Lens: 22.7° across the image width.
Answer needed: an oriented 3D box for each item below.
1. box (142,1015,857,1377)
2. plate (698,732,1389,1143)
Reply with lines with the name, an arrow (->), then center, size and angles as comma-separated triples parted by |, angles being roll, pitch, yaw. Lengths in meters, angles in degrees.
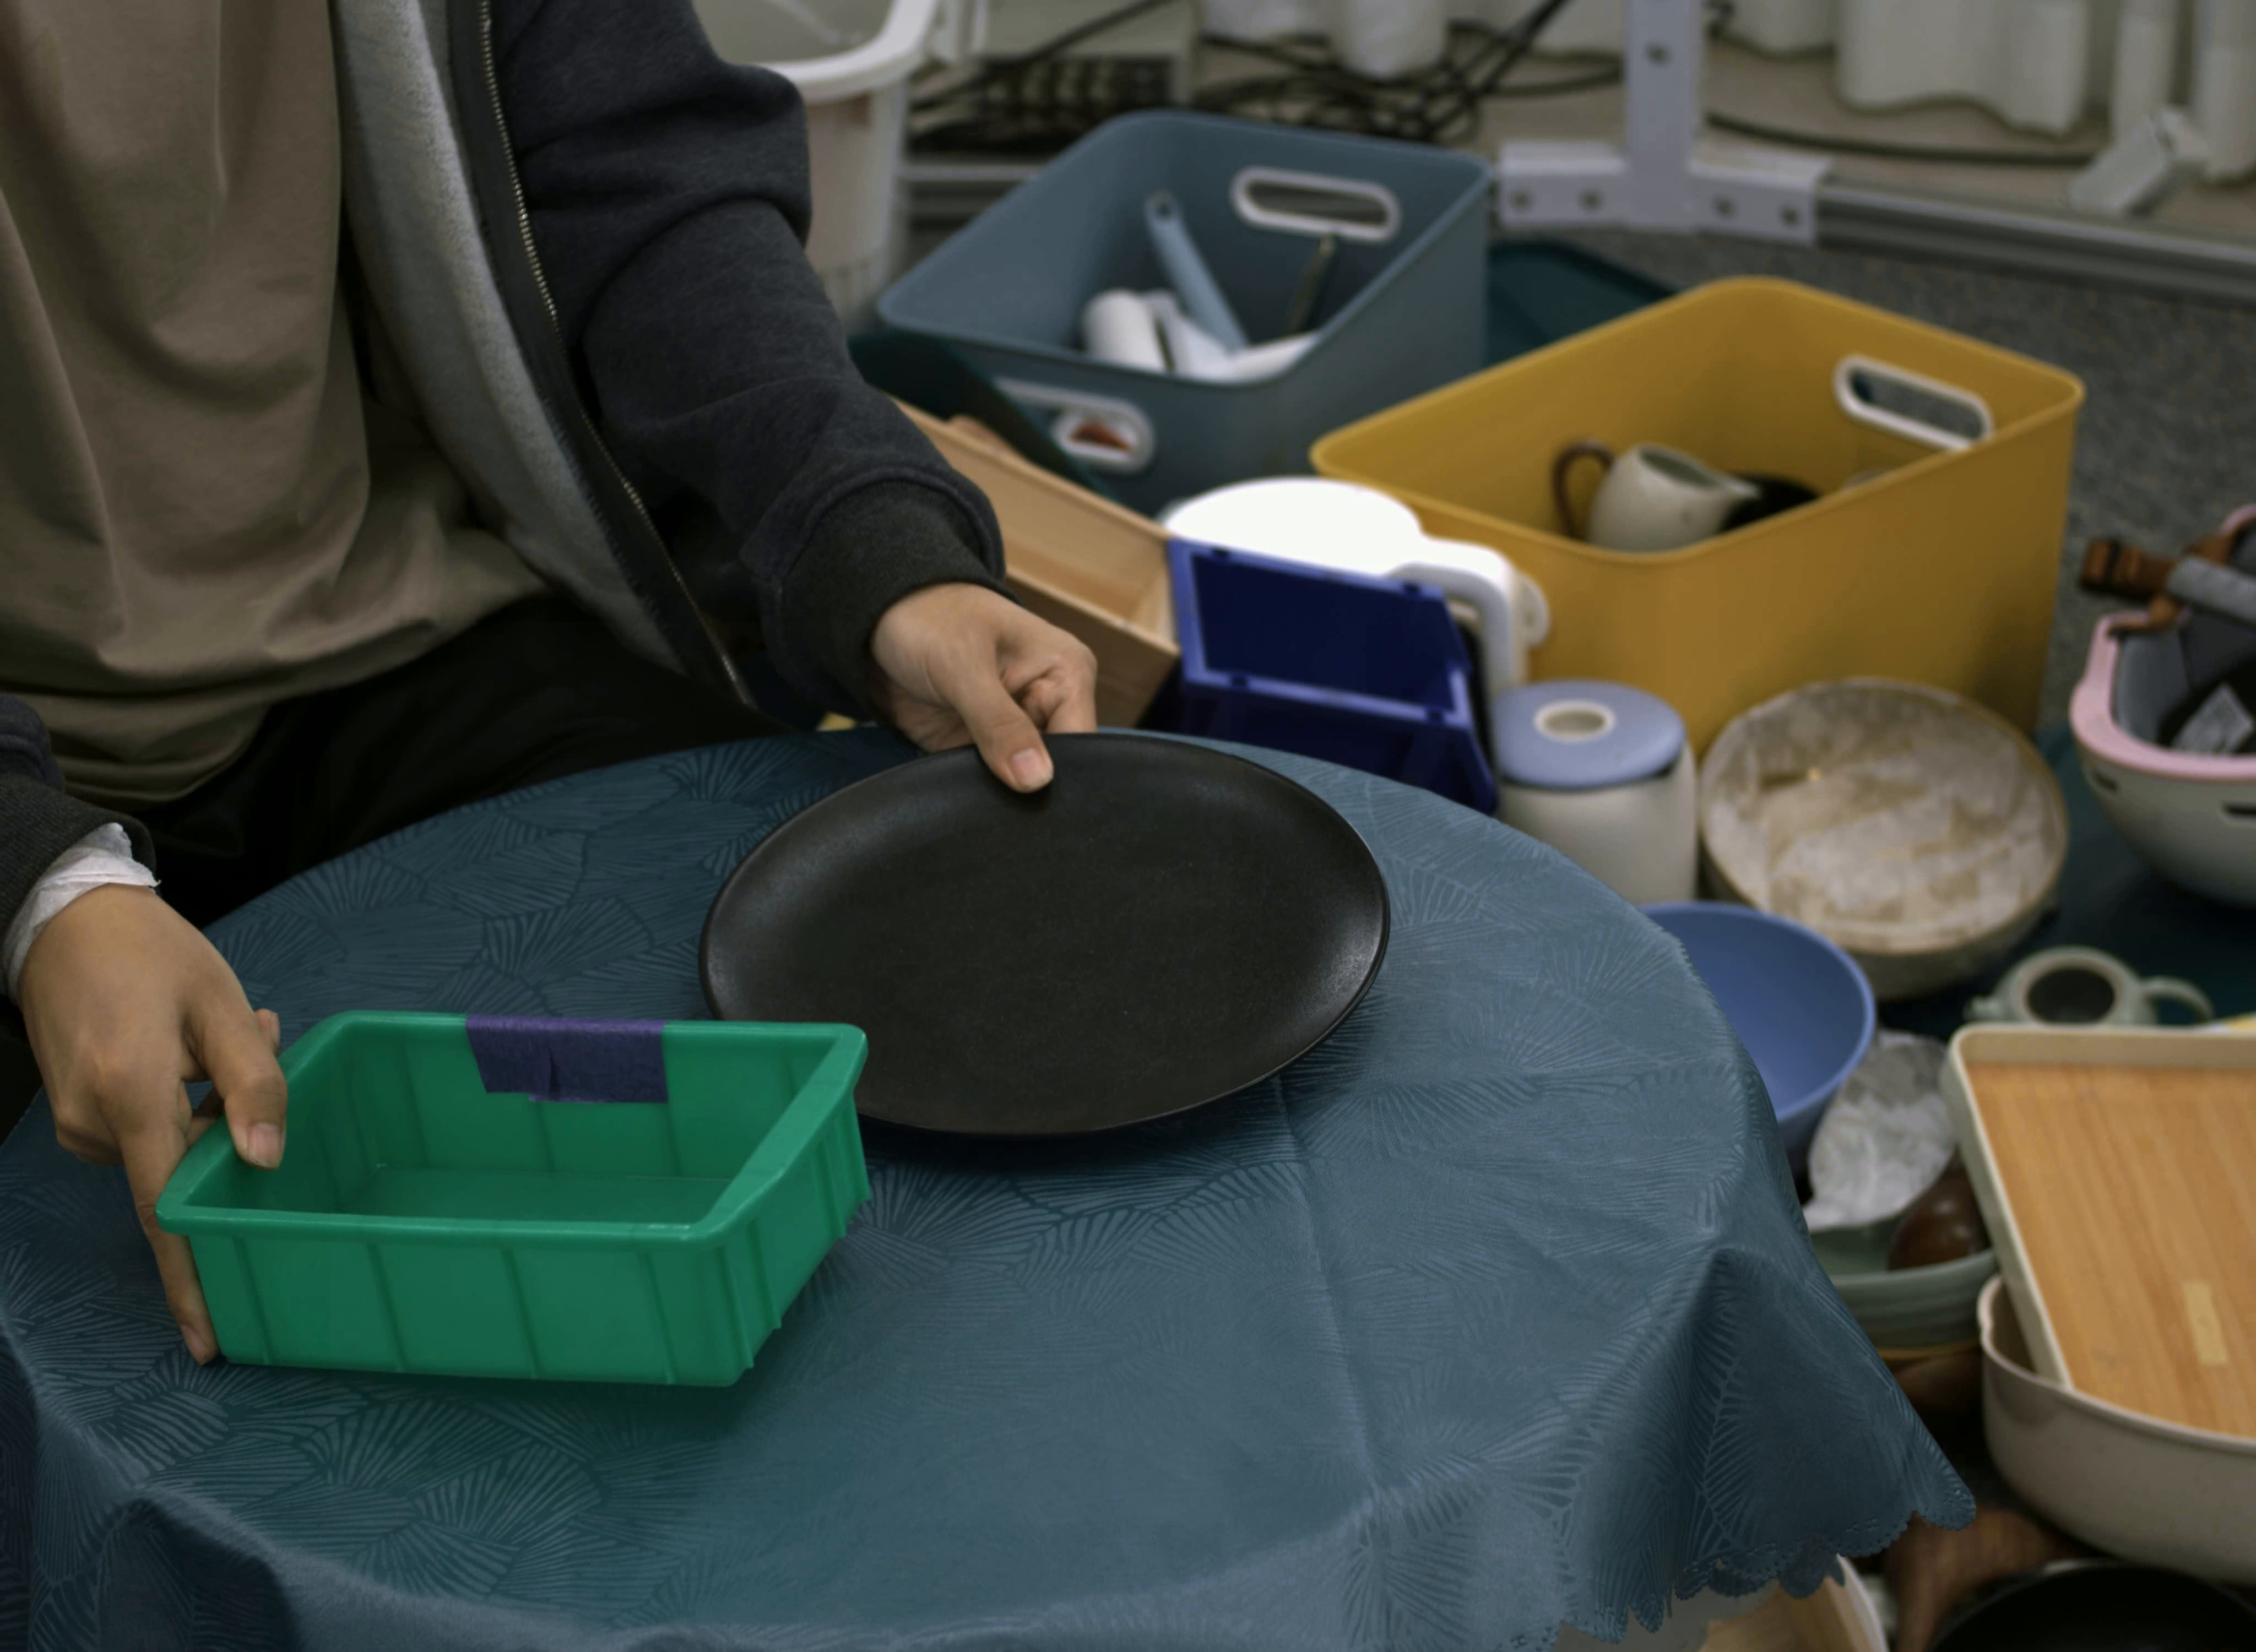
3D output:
box -> -0.195, 0.120, 1.799 | 0.208, 0.065, 0.141 | -1, 24, 20
plate -> -0.029, 0.043, 1.971 | 0.243, 0.023, 0.249 | -3, 34, 2
